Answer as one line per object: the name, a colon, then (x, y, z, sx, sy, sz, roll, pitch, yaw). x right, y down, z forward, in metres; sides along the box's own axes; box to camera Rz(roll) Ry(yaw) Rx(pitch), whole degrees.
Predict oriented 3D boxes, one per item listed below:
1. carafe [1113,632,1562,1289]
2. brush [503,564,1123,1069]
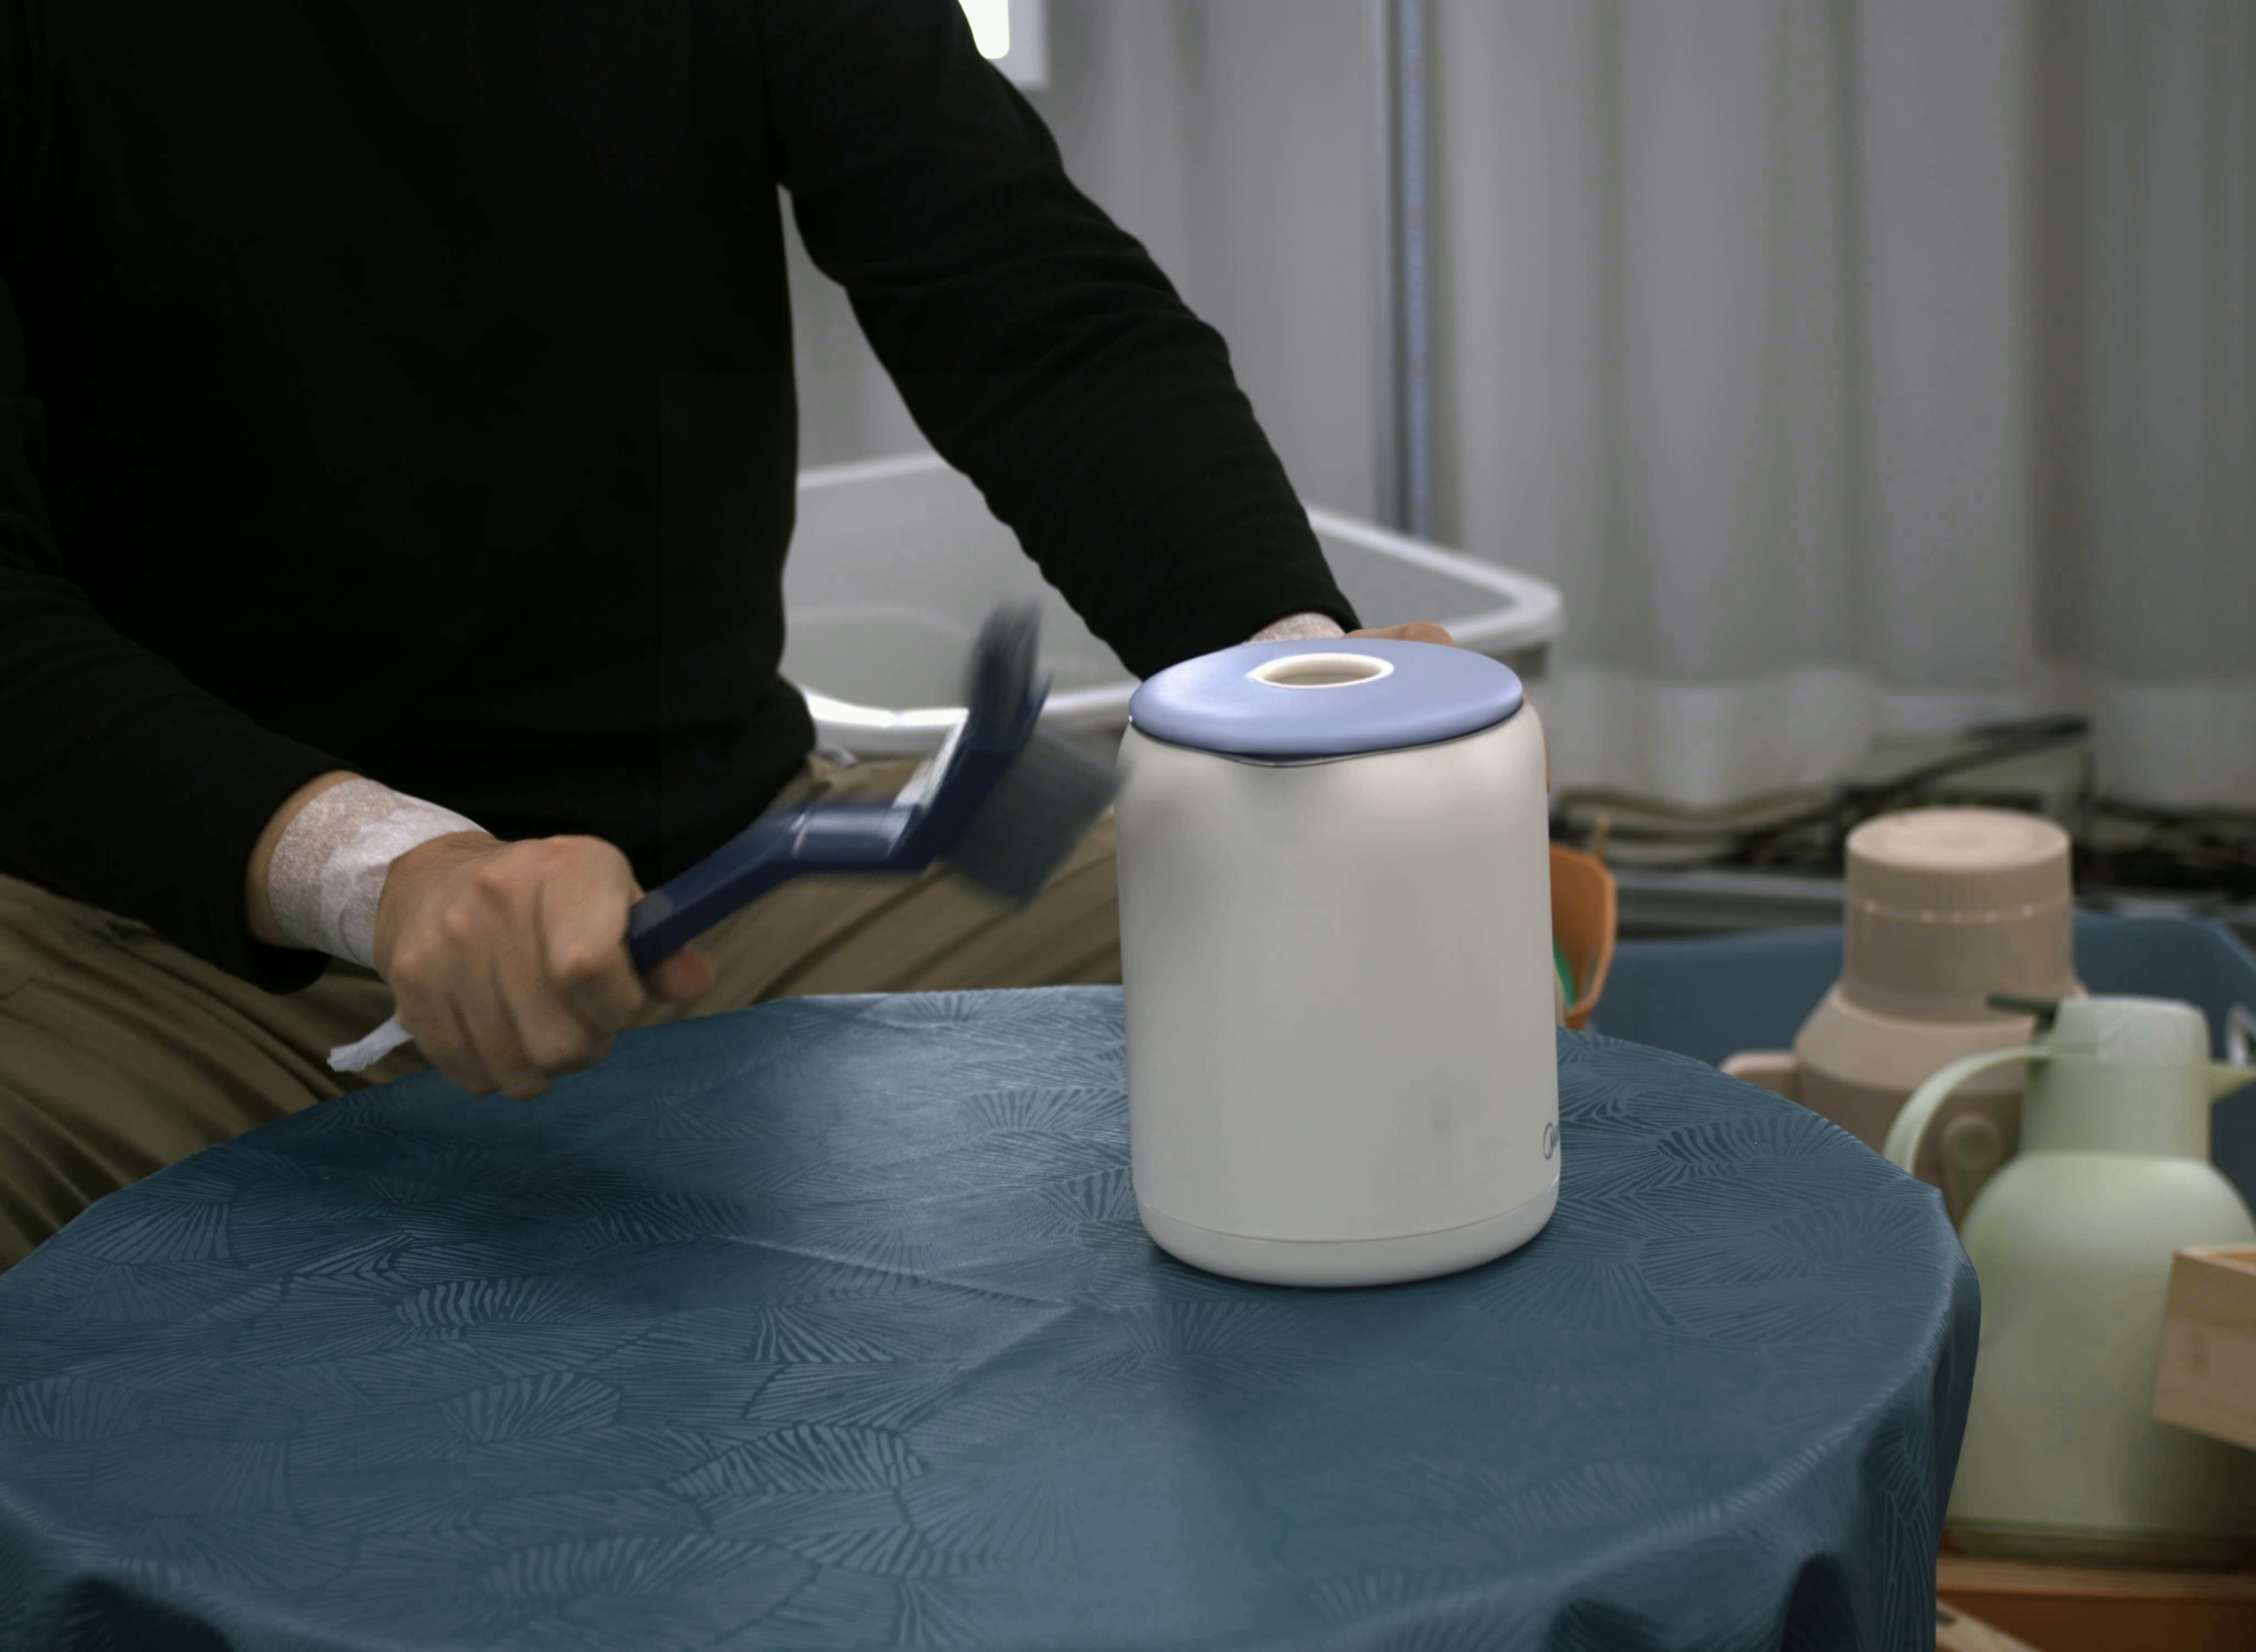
carafe: (0.069, 0.033, 1.676, 0.132, 0.182, 0.192, 1, 14, 12)
brush: (-0.111, 0.002, 1.647, 0.272, 0.095, 0.034, -24, 34, 34)
